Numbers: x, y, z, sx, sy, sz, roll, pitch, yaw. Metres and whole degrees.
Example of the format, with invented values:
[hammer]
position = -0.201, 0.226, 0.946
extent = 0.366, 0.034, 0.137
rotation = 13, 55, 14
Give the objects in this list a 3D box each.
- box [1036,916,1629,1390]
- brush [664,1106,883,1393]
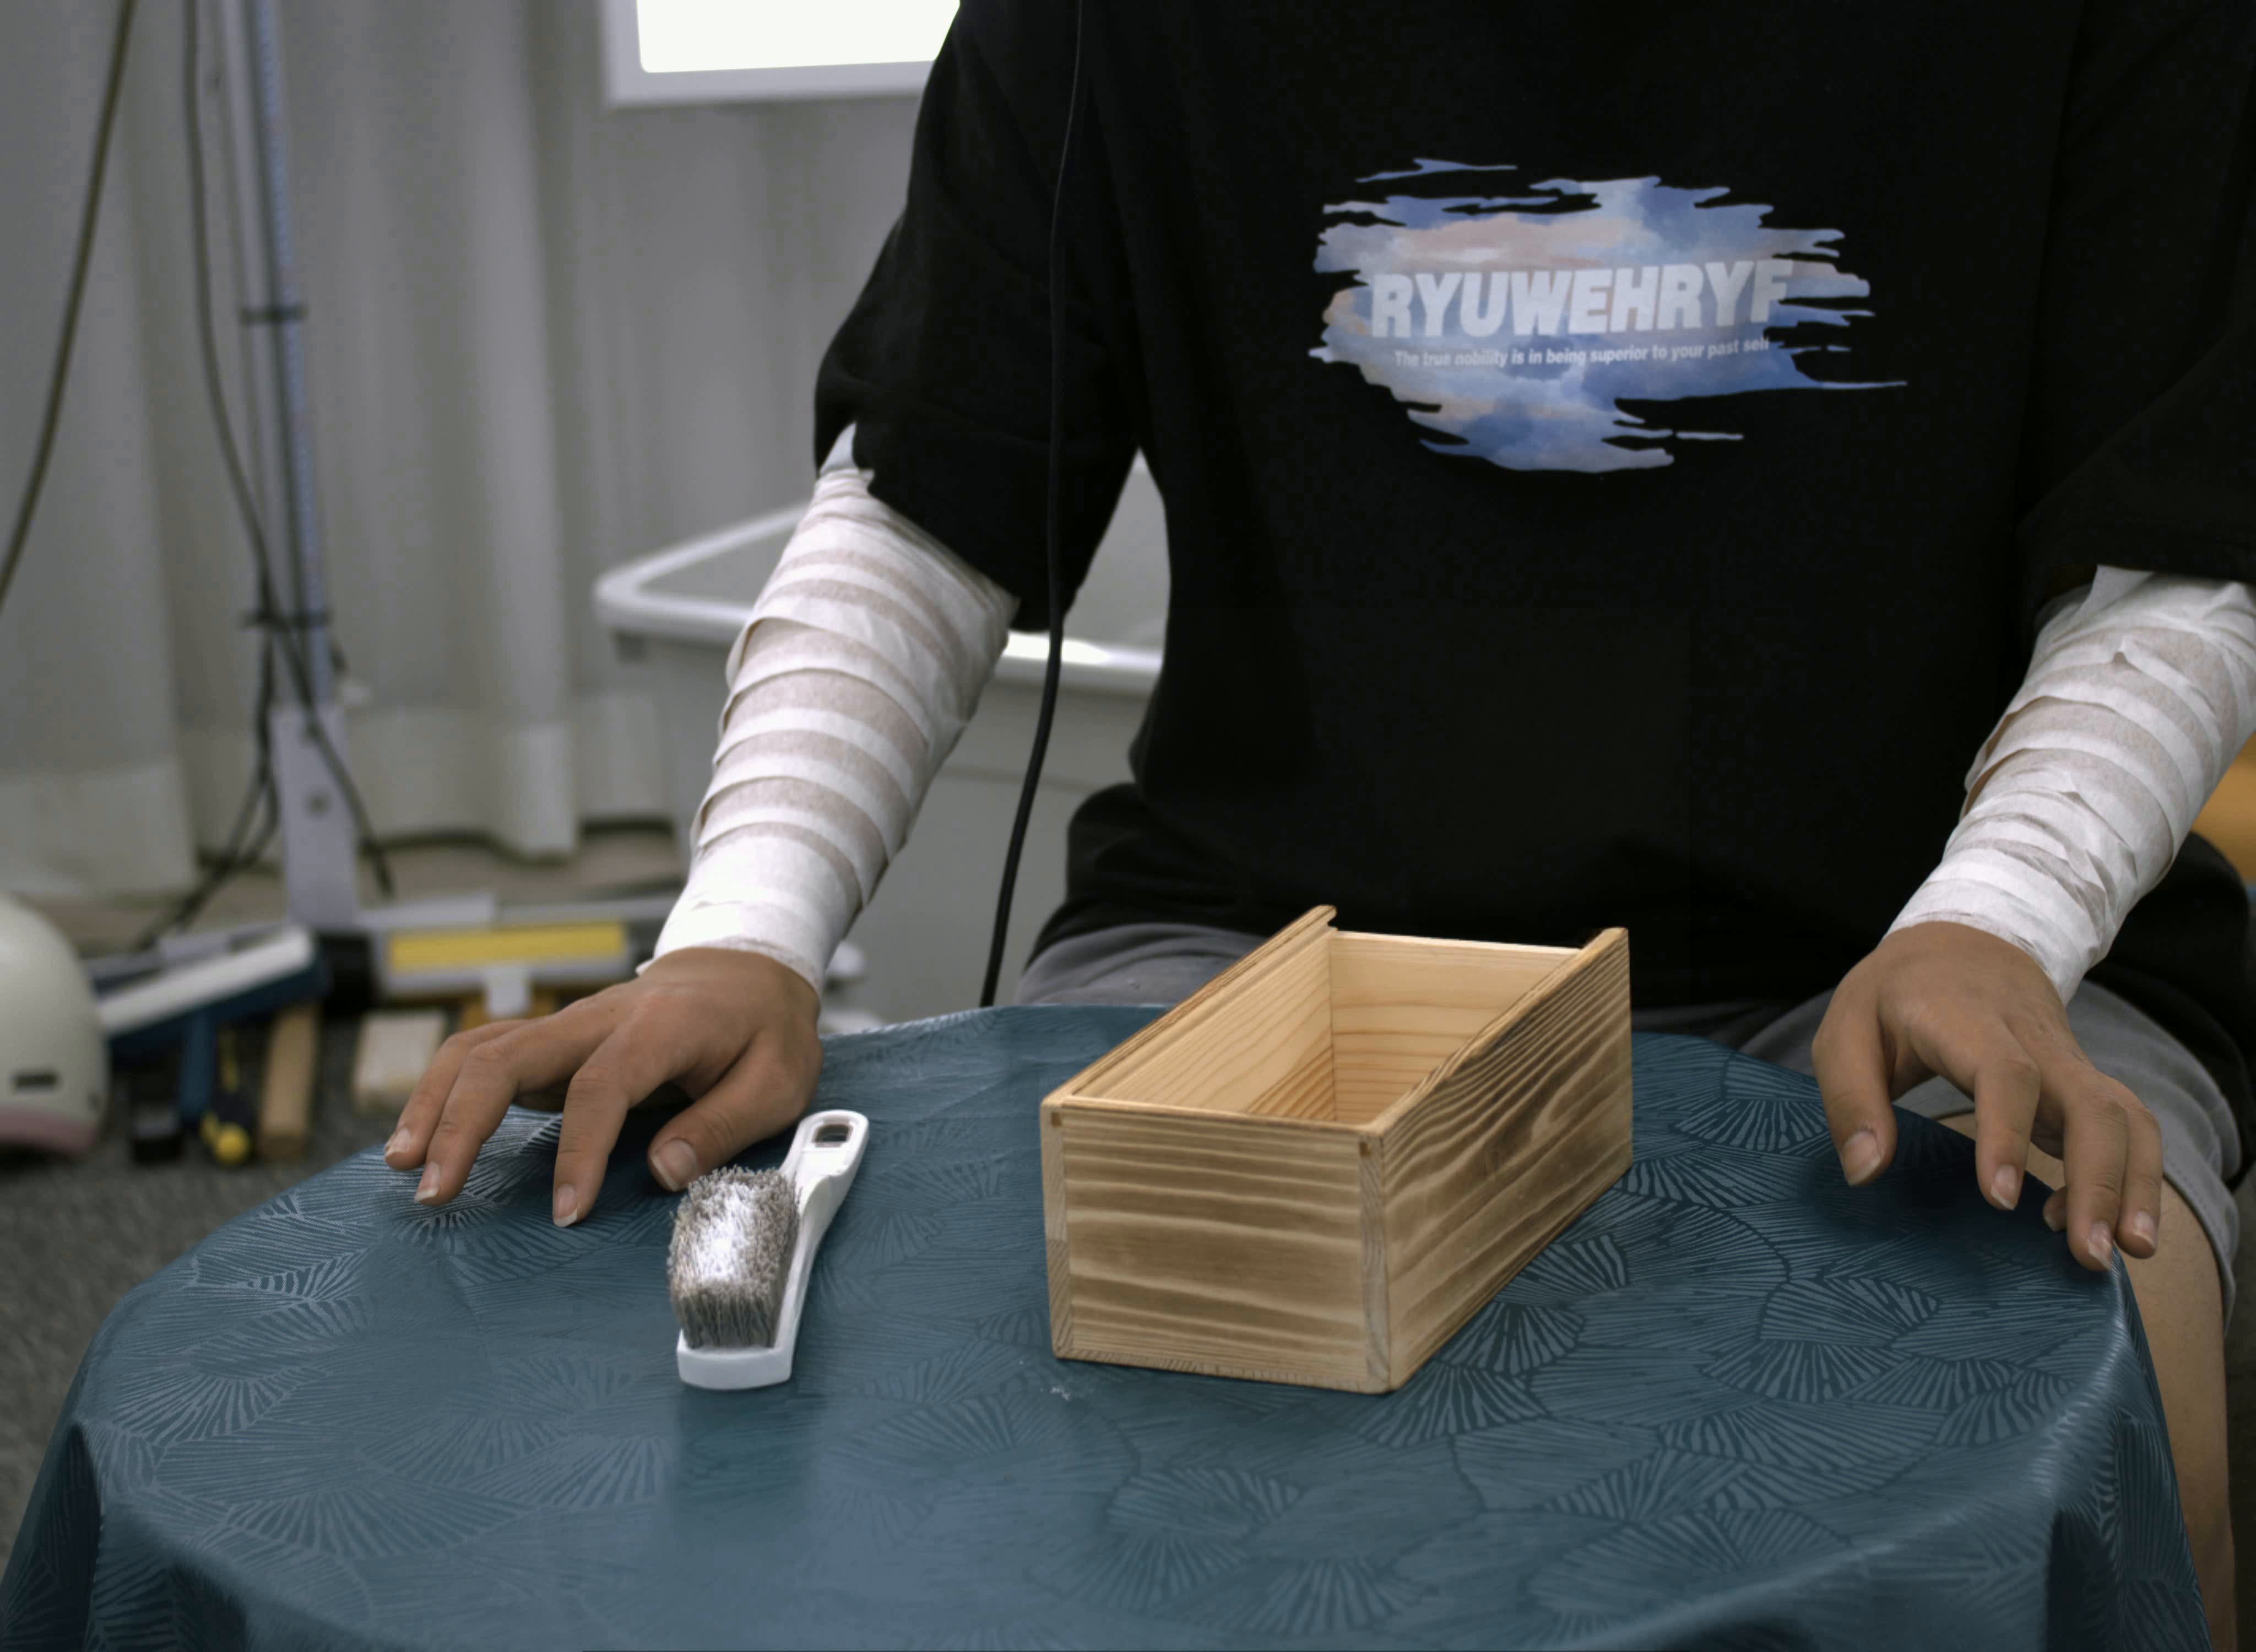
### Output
[box]
position = 0.065, 0.093, 1.629
extent = 0.107, 0.080, 0.212
rotation = 3, 15, 23
[brush]
position = -0.104, 0.108, 1.658
extent = 0.034, 0.050, 0.245
rotation = -1, 16, 7
